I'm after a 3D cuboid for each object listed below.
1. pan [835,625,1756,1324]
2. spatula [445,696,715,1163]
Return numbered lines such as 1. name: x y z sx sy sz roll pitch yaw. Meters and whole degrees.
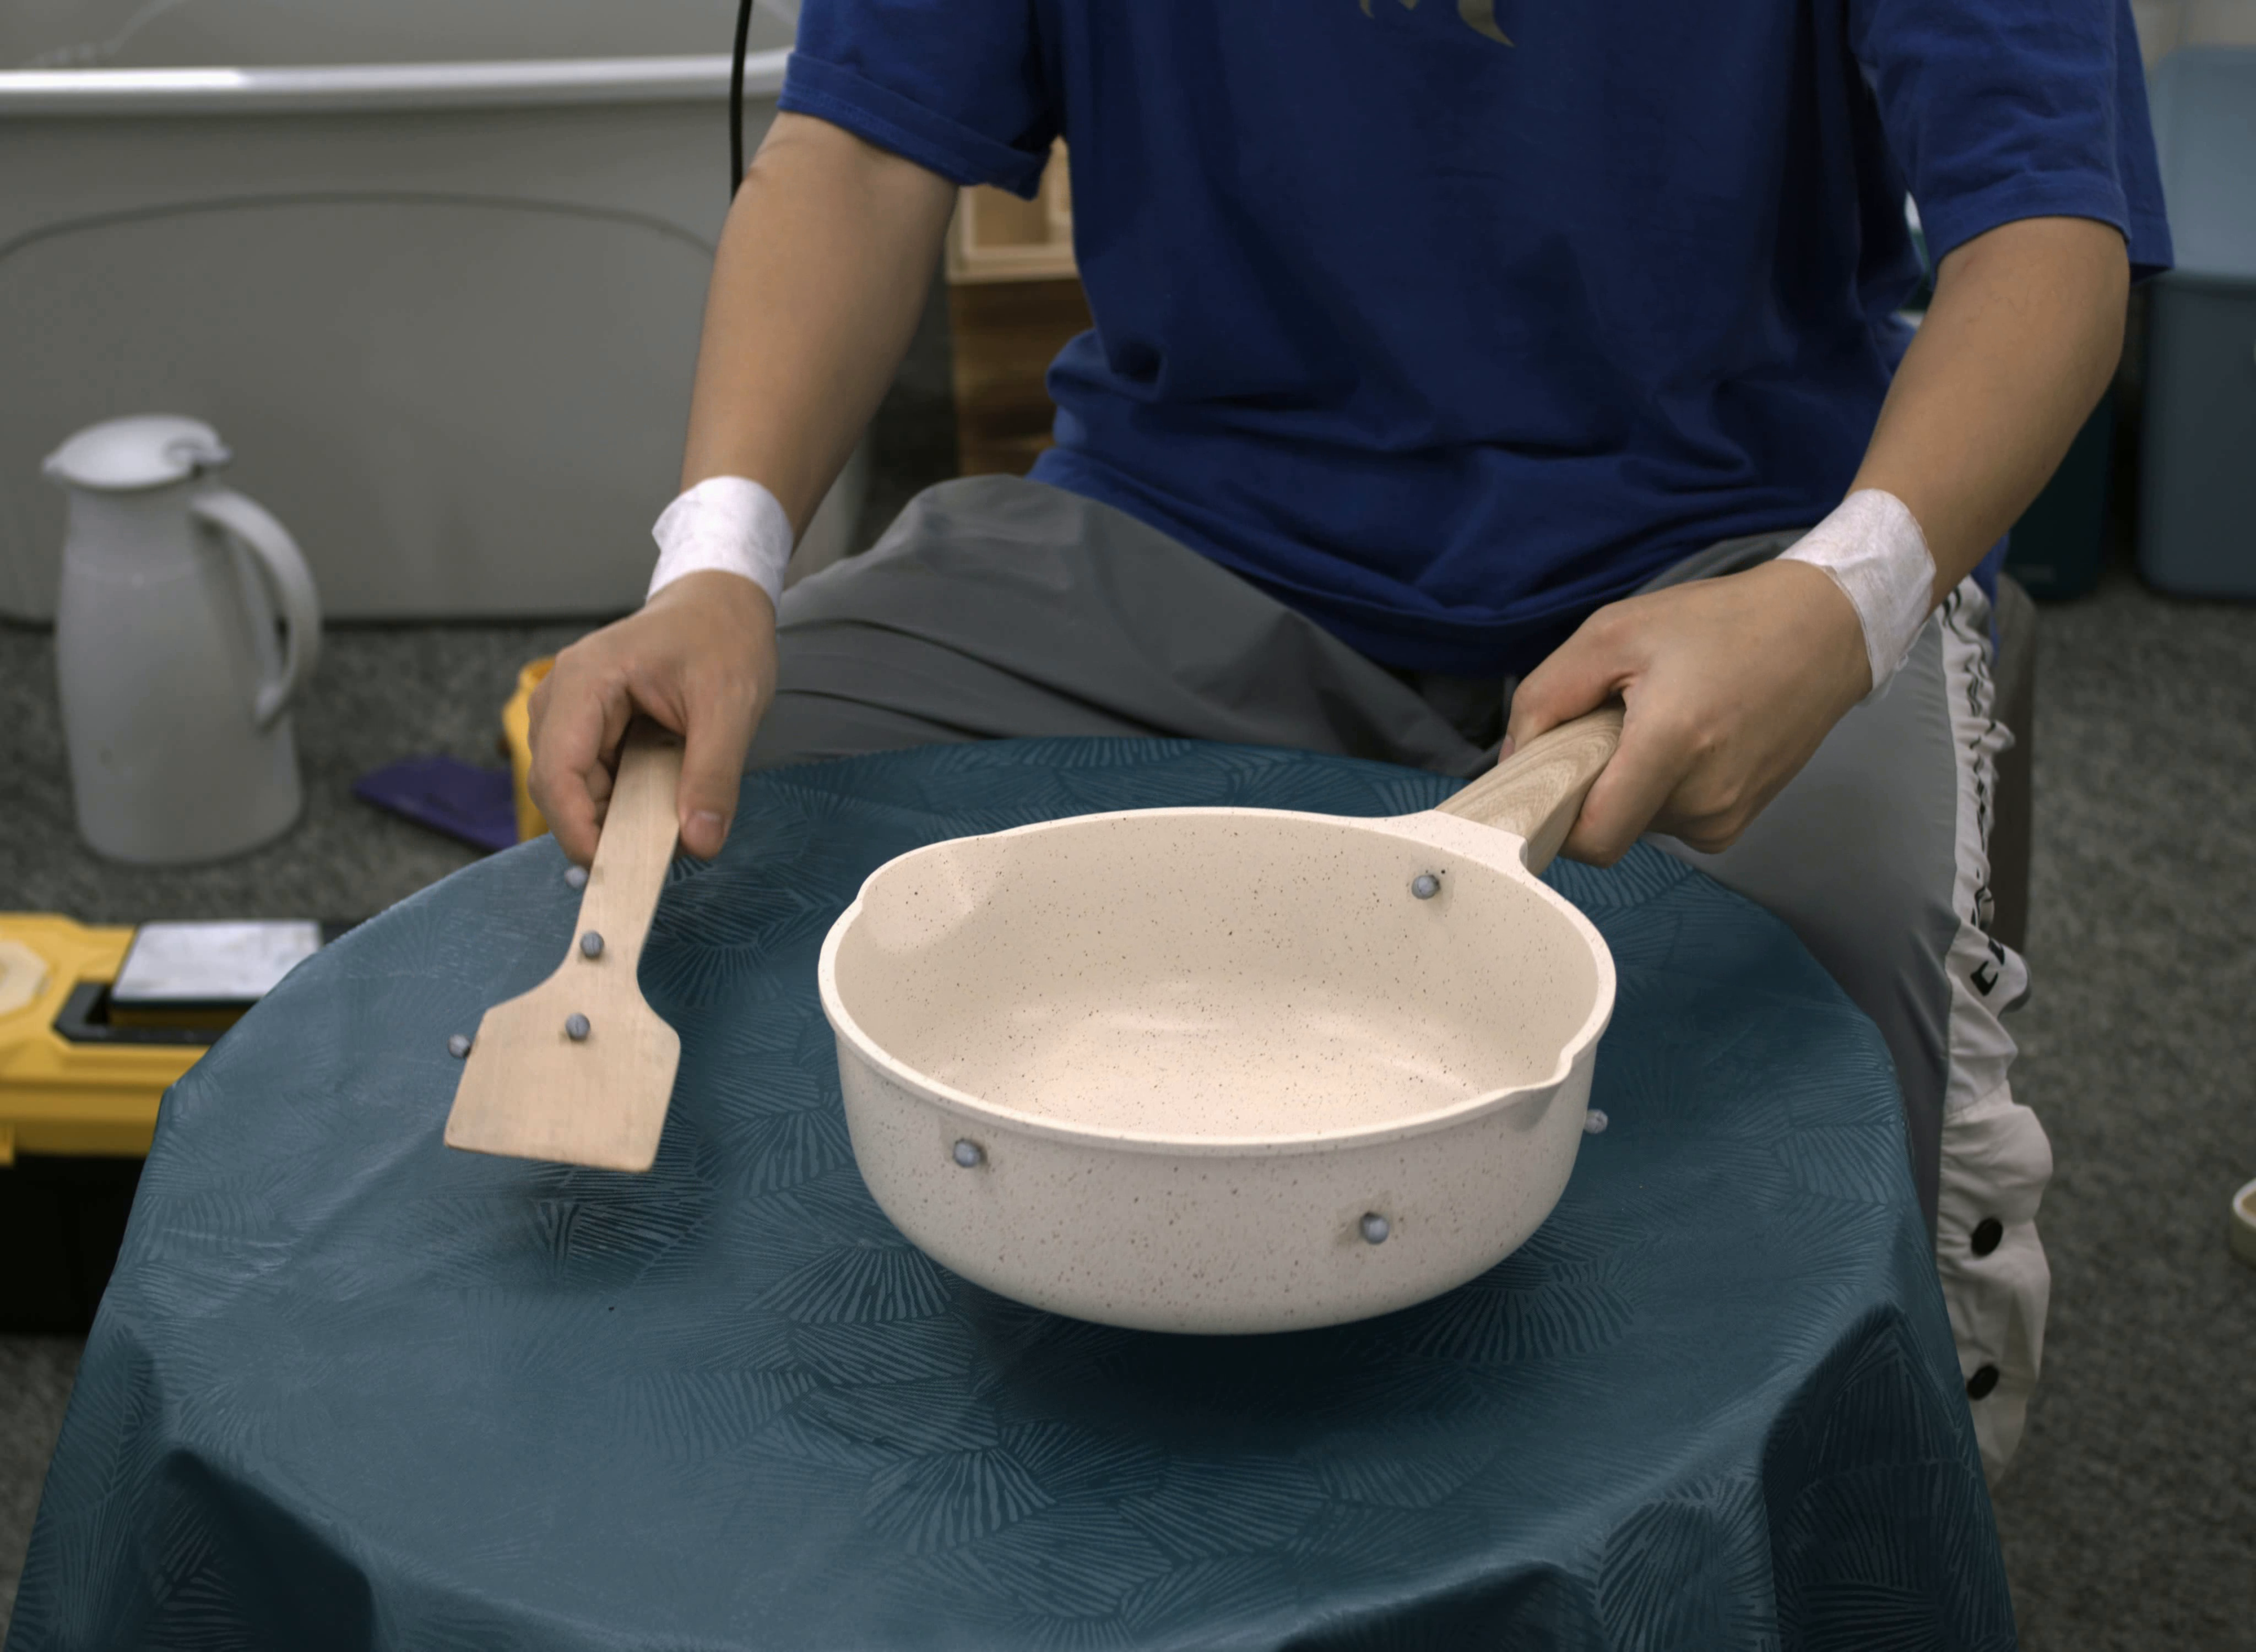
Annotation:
1. pan: 0.088 0.043 1.846 0.262 0.101 0.440 15 26 34
2. spatula: -0.178 0.031 1.952 0.072 0.010 0.298 6 32 2
